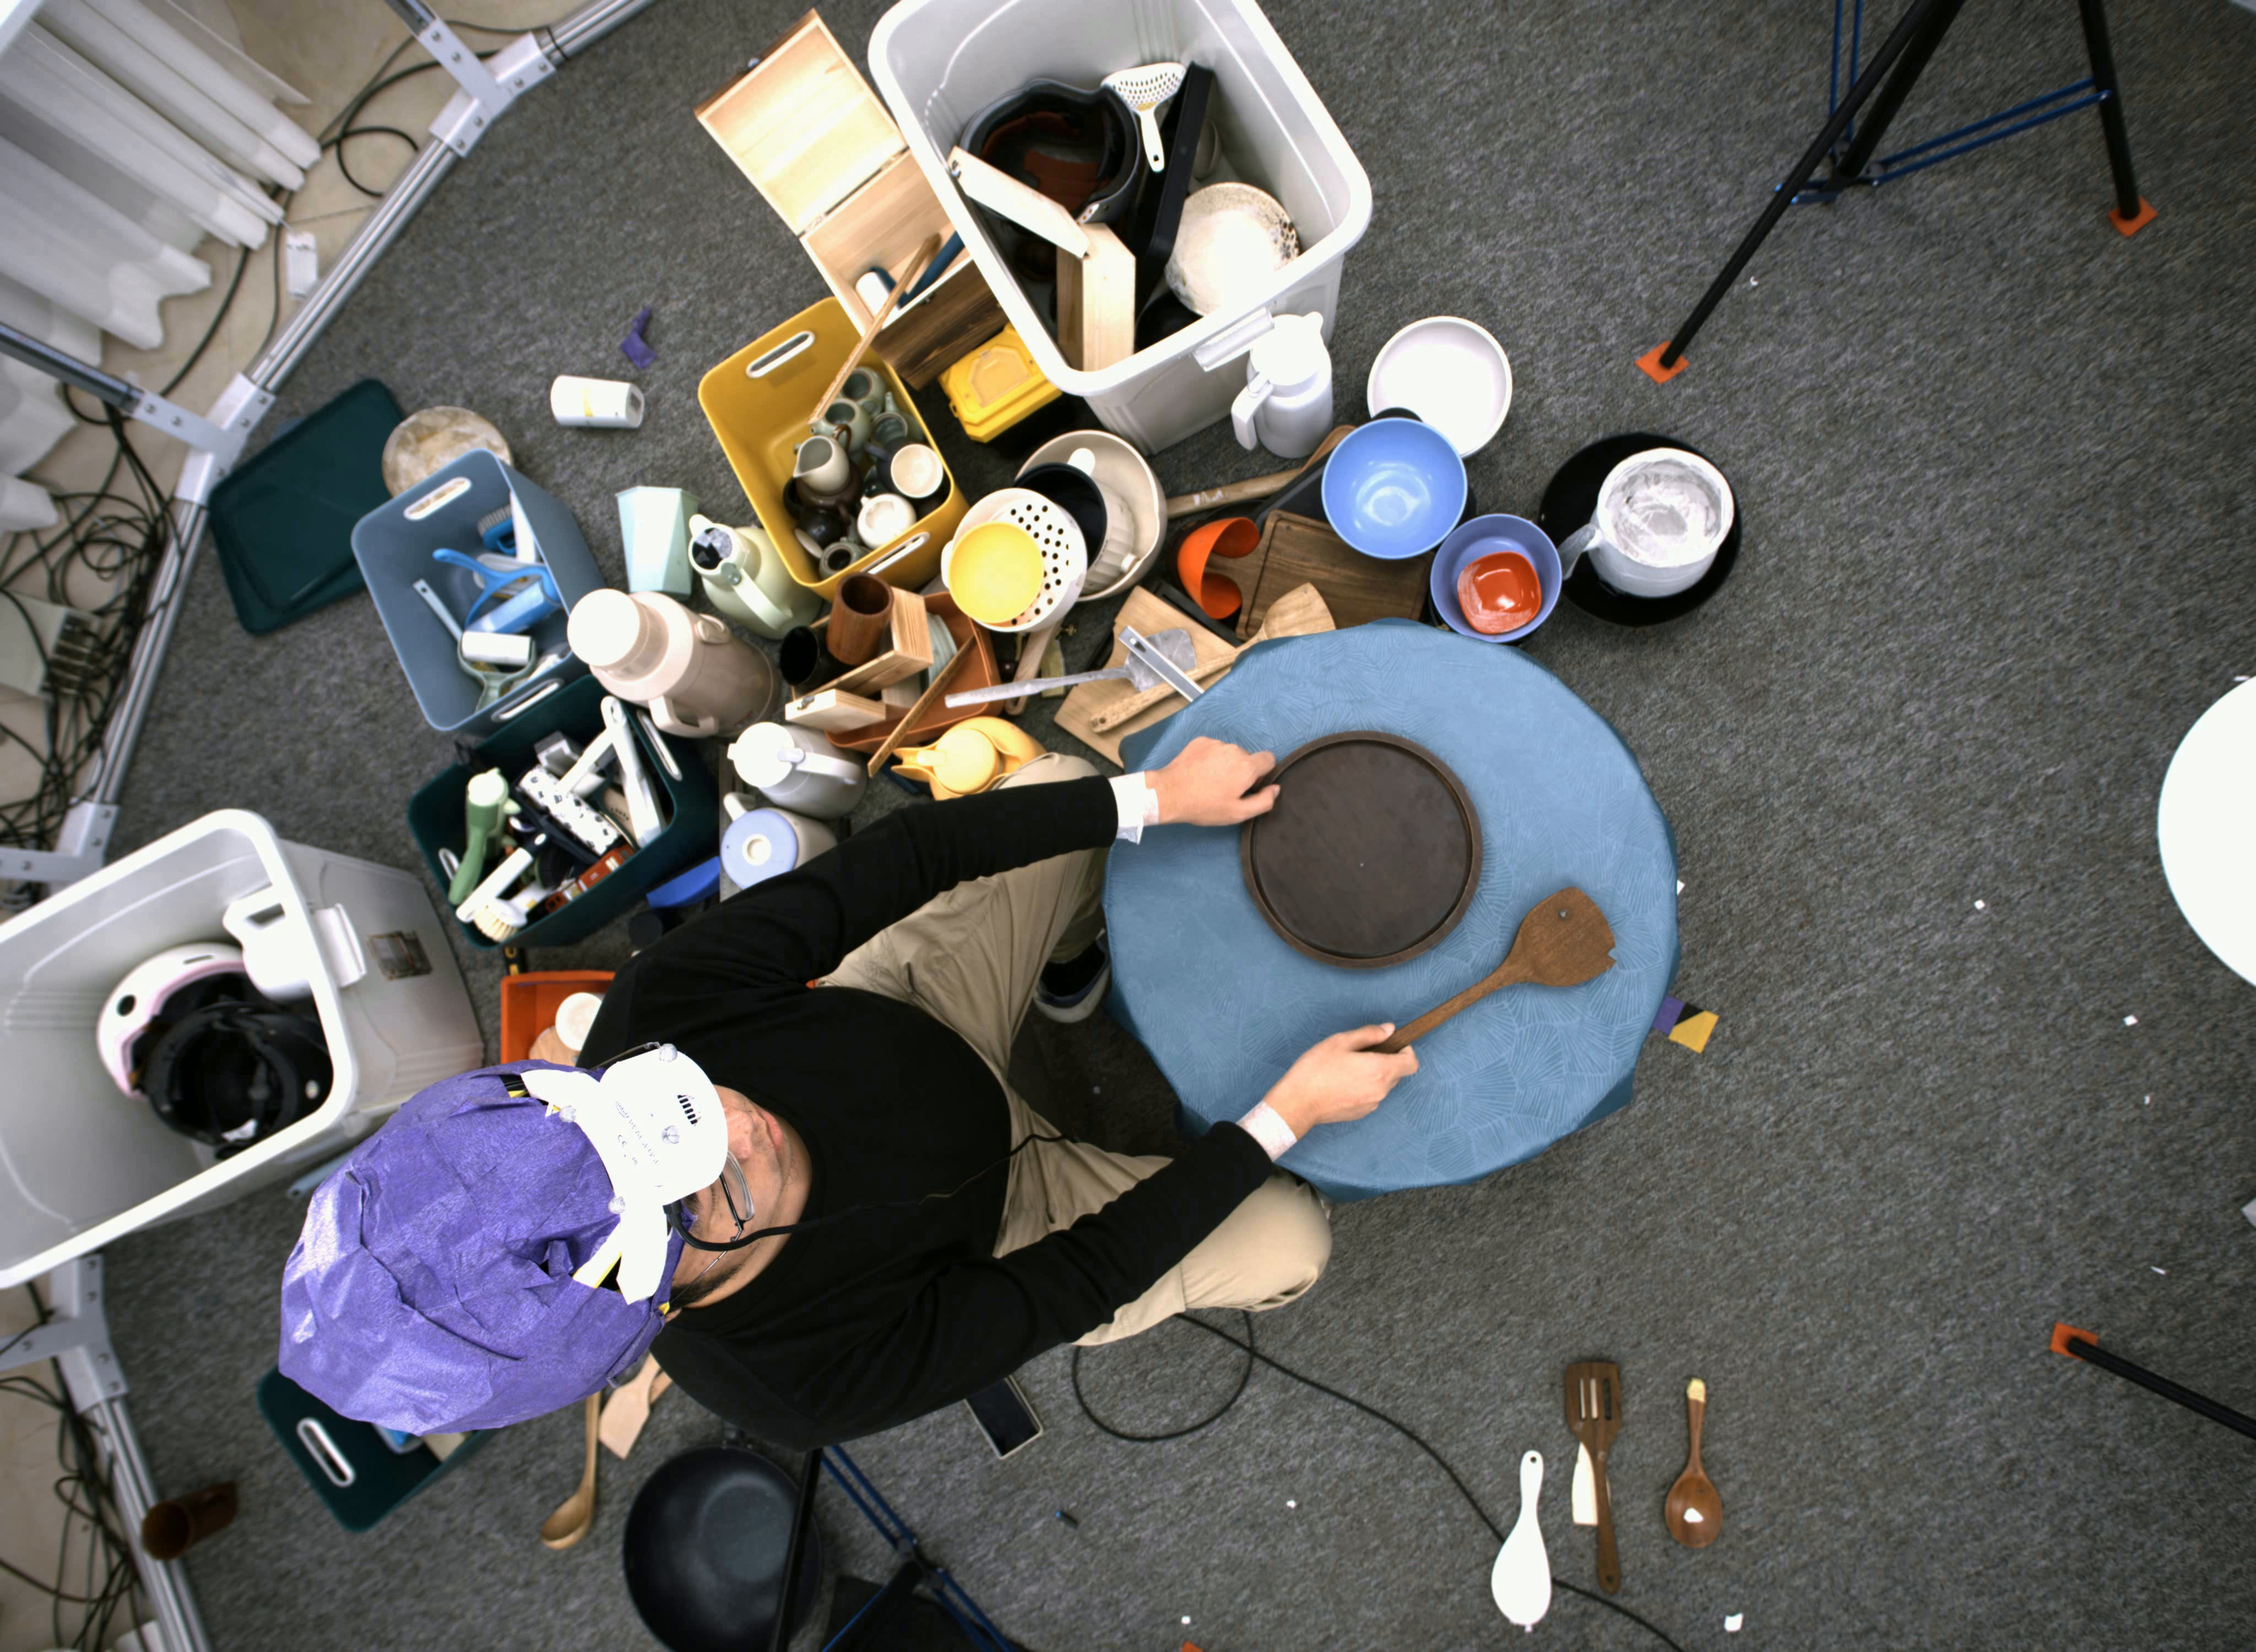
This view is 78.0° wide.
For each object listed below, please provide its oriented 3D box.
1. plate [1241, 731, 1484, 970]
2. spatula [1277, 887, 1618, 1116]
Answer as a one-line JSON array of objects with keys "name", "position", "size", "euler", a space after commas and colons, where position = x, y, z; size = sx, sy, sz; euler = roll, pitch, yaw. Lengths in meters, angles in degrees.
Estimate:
[{"name": "plate", "position": [0.245, 0.024, 1.456], "size": [0.256, 0.029, 0.253], "euler": [-1, 86, 9]}, {"name": "spatula", "position": [0.319, 0.190, 1.406], "size": [0.387, 0.016, 0.096], "euler": [-31, 88, 3]}]
